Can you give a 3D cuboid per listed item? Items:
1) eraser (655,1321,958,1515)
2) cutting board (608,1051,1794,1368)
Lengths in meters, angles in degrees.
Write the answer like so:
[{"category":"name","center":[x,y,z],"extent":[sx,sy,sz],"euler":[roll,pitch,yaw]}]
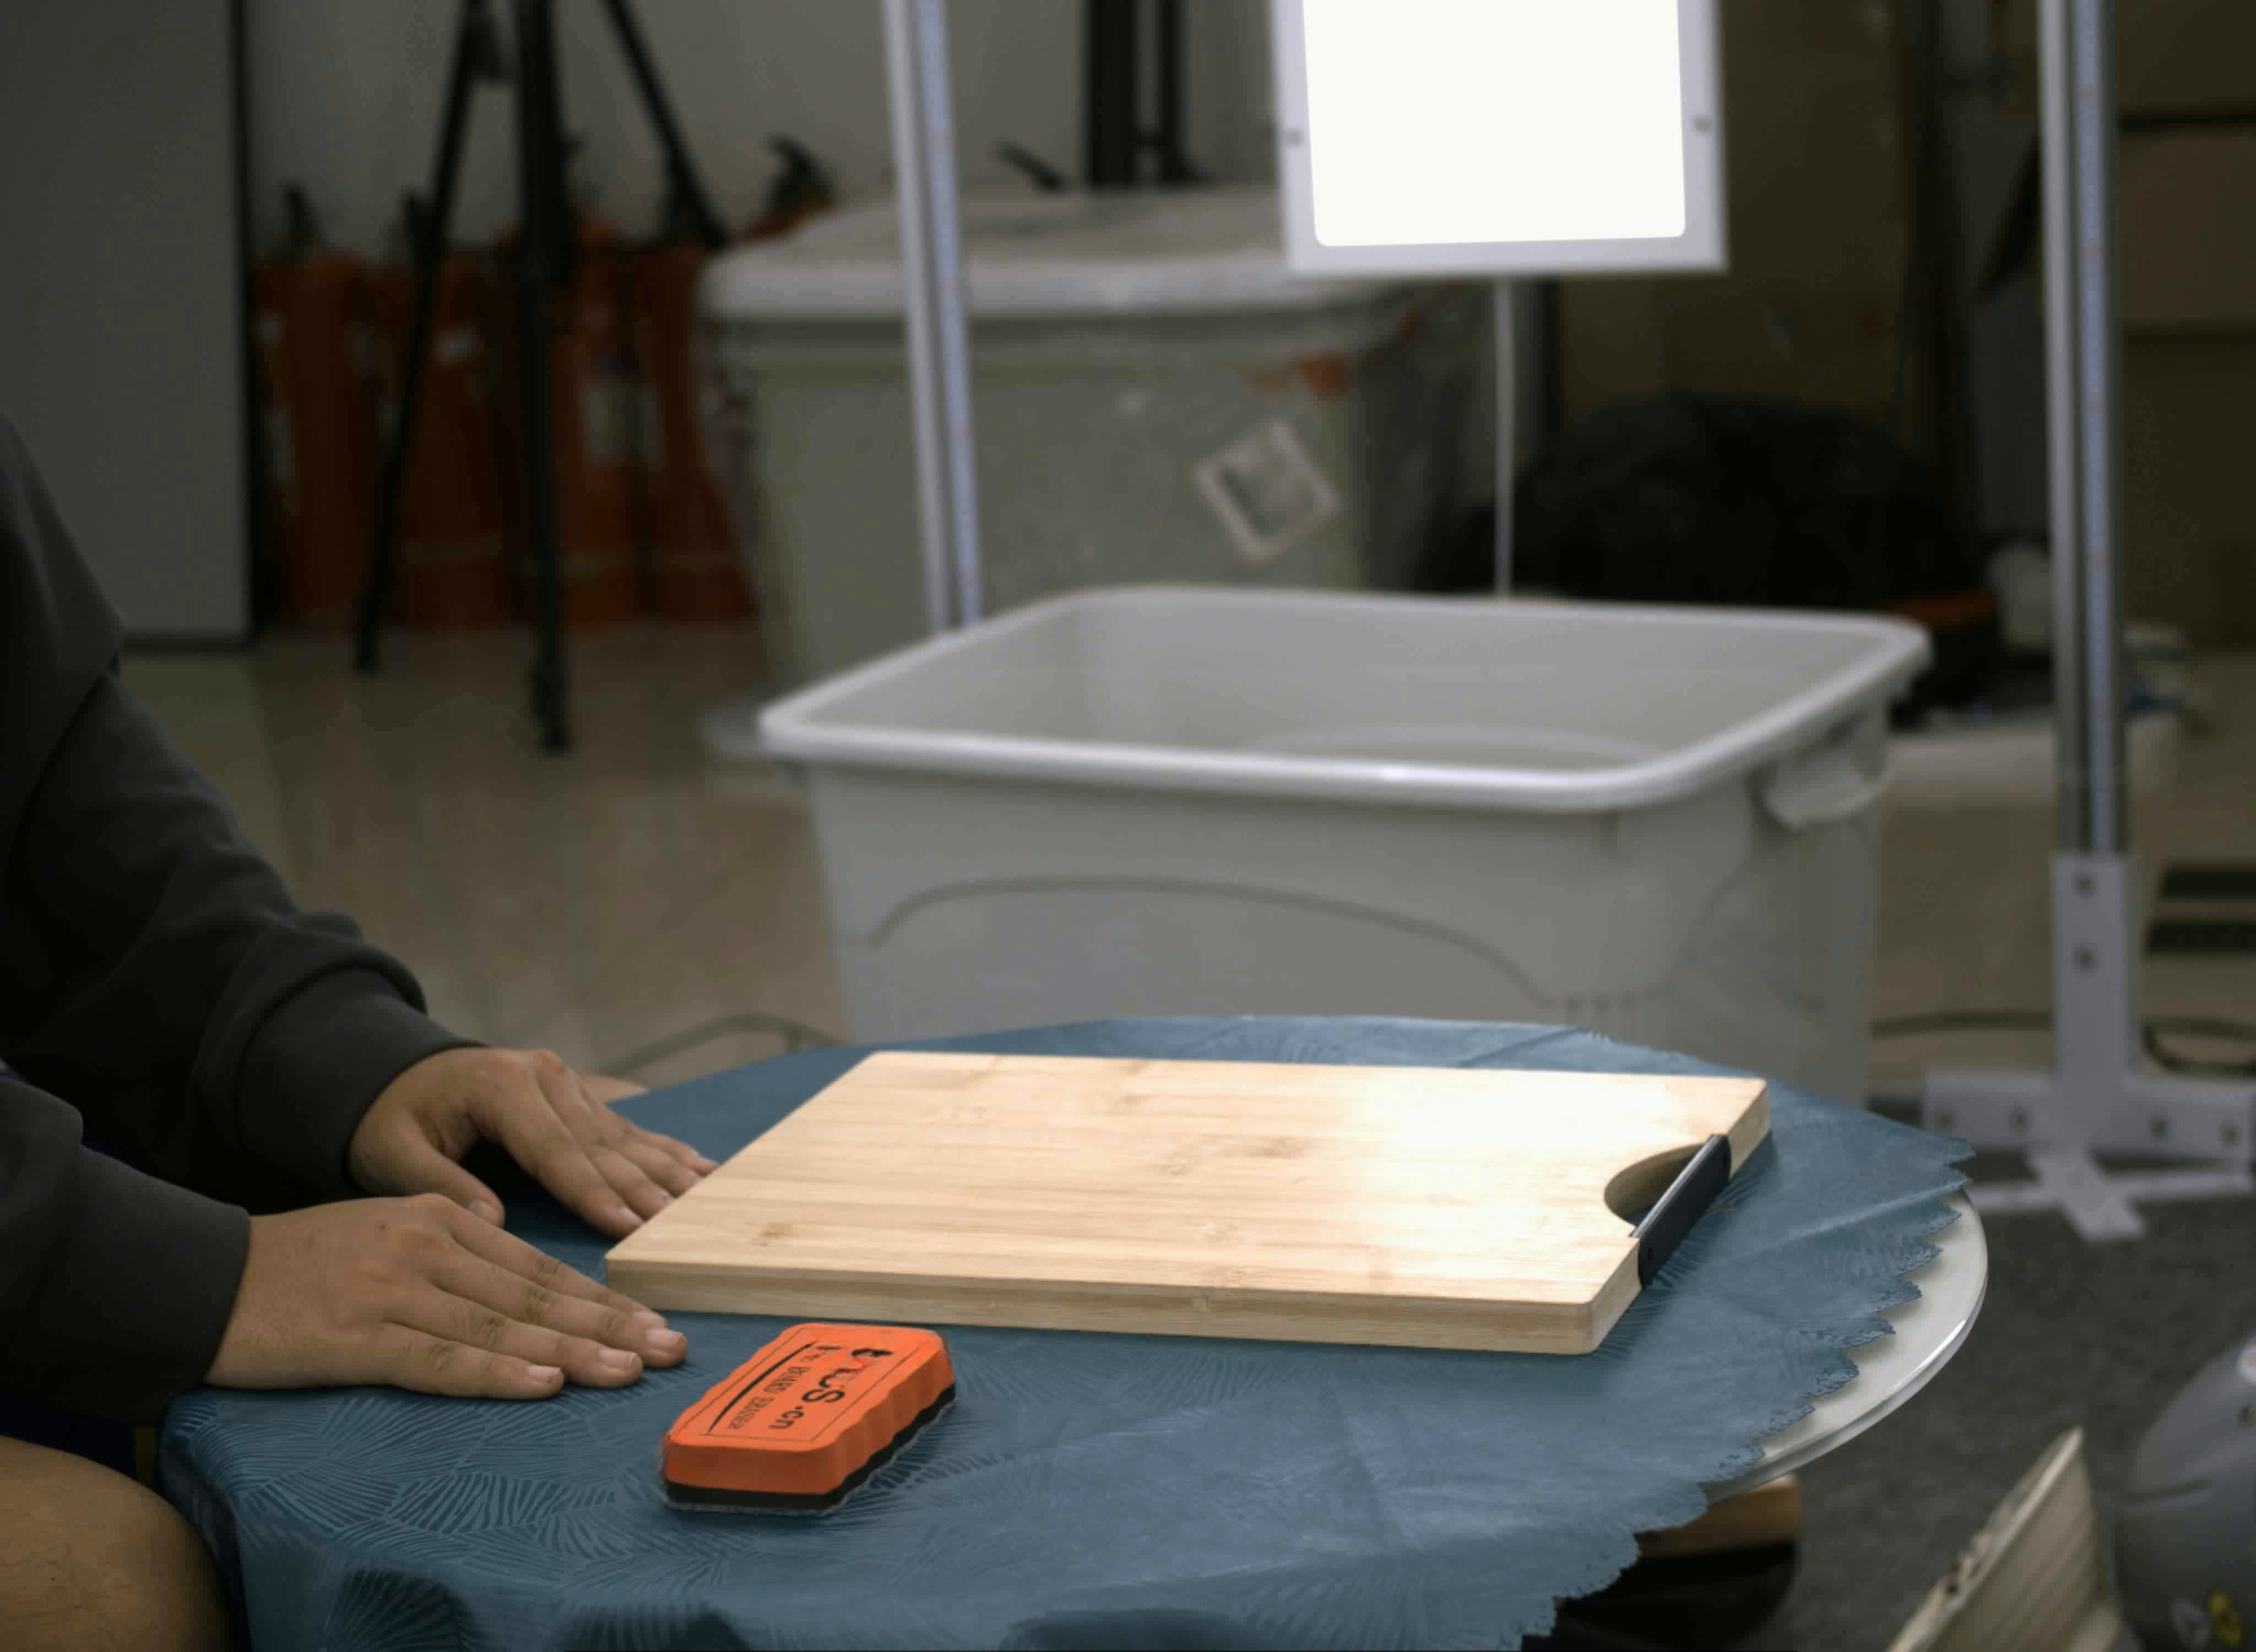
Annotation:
[{"category":"eraser","center":[-0.096,0.178,1.669],"extent":[0.060,0.023,0.106],"euler":[2,15,23]},{"category":"cutting board","center":[0.030,0.124,1.861],"extent":[0.353,0.023,0.246],"euler":[0,15,22]}]
